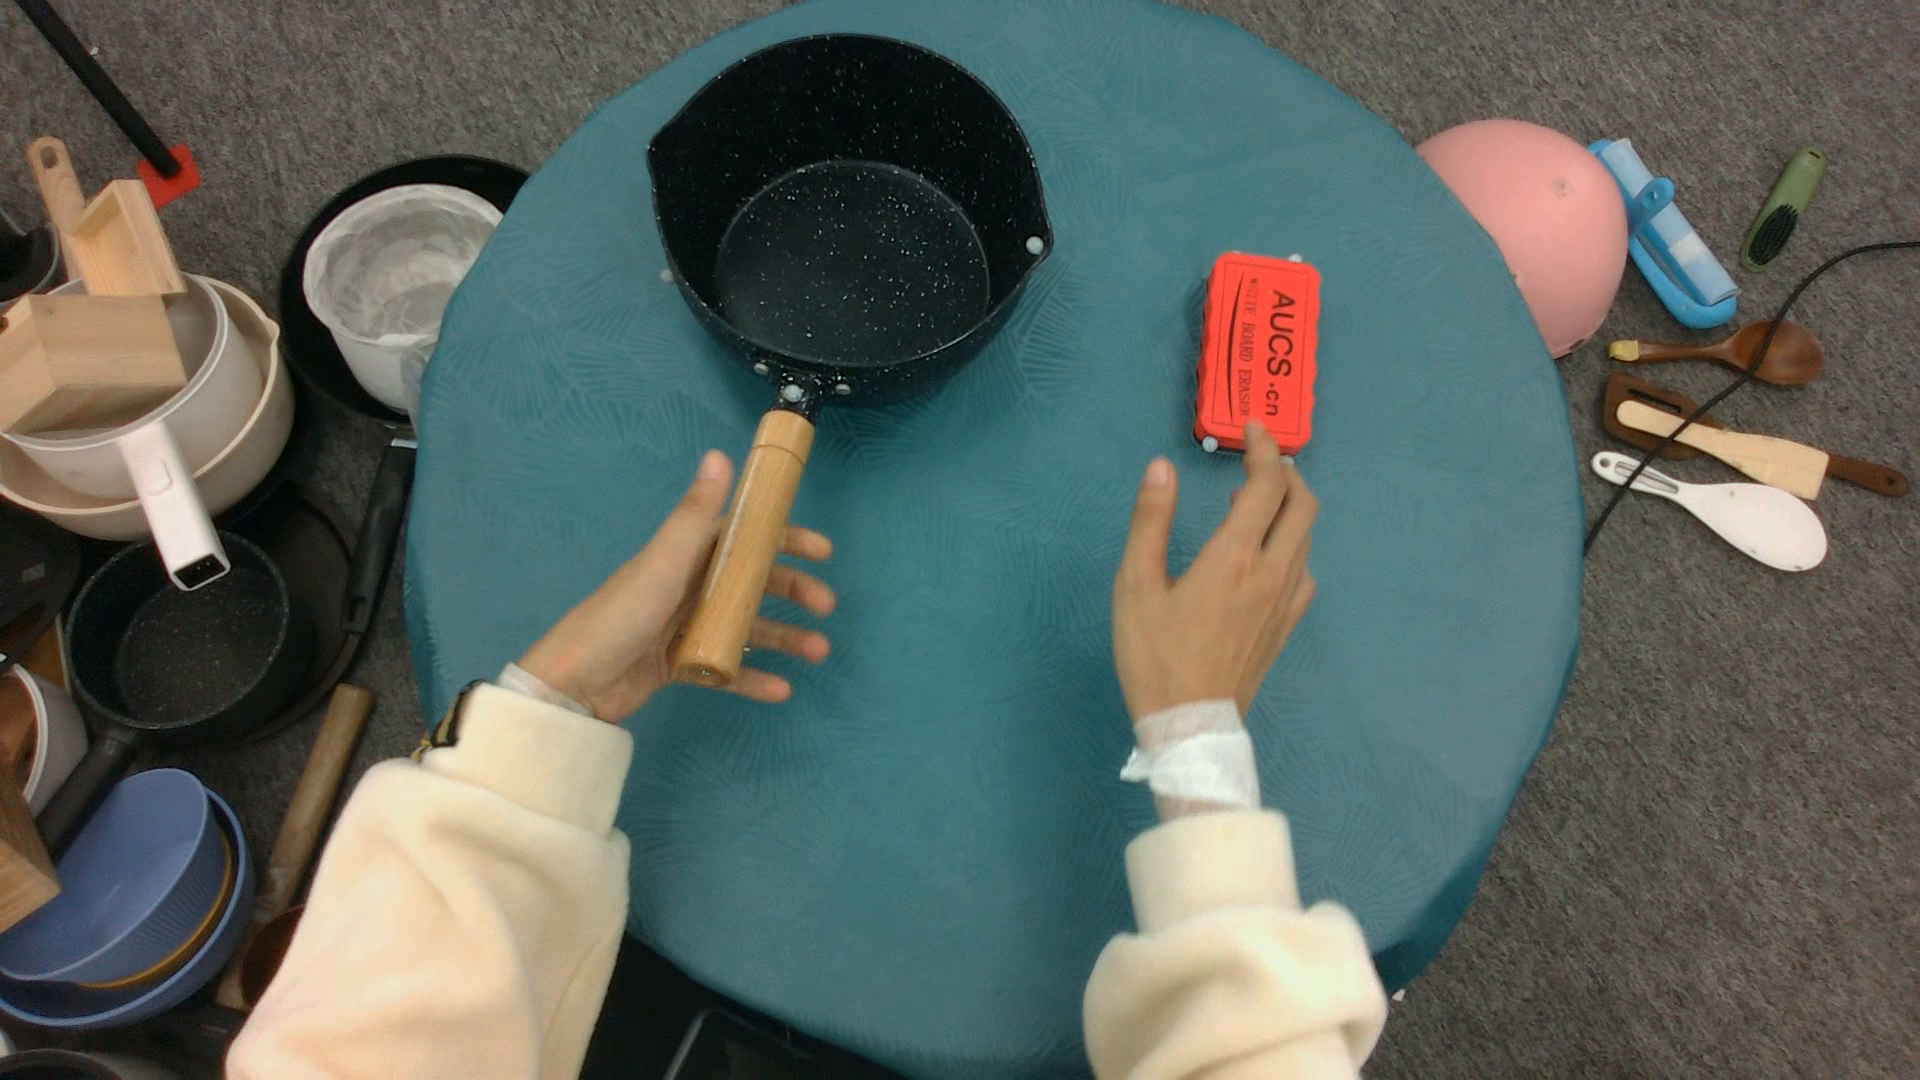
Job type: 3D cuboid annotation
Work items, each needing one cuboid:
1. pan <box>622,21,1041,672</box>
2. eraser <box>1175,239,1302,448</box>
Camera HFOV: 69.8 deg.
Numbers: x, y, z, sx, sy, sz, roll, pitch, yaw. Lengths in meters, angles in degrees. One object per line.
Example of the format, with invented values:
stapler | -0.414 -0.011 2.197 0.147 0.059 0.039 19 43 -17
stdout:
pan | -0.077 -0.089 0.659 0.207 0.108 0.344 12 69 -1
eraser | 0.147 -0.104 0.726 0.059 0.023 0.108 9 70 -1
